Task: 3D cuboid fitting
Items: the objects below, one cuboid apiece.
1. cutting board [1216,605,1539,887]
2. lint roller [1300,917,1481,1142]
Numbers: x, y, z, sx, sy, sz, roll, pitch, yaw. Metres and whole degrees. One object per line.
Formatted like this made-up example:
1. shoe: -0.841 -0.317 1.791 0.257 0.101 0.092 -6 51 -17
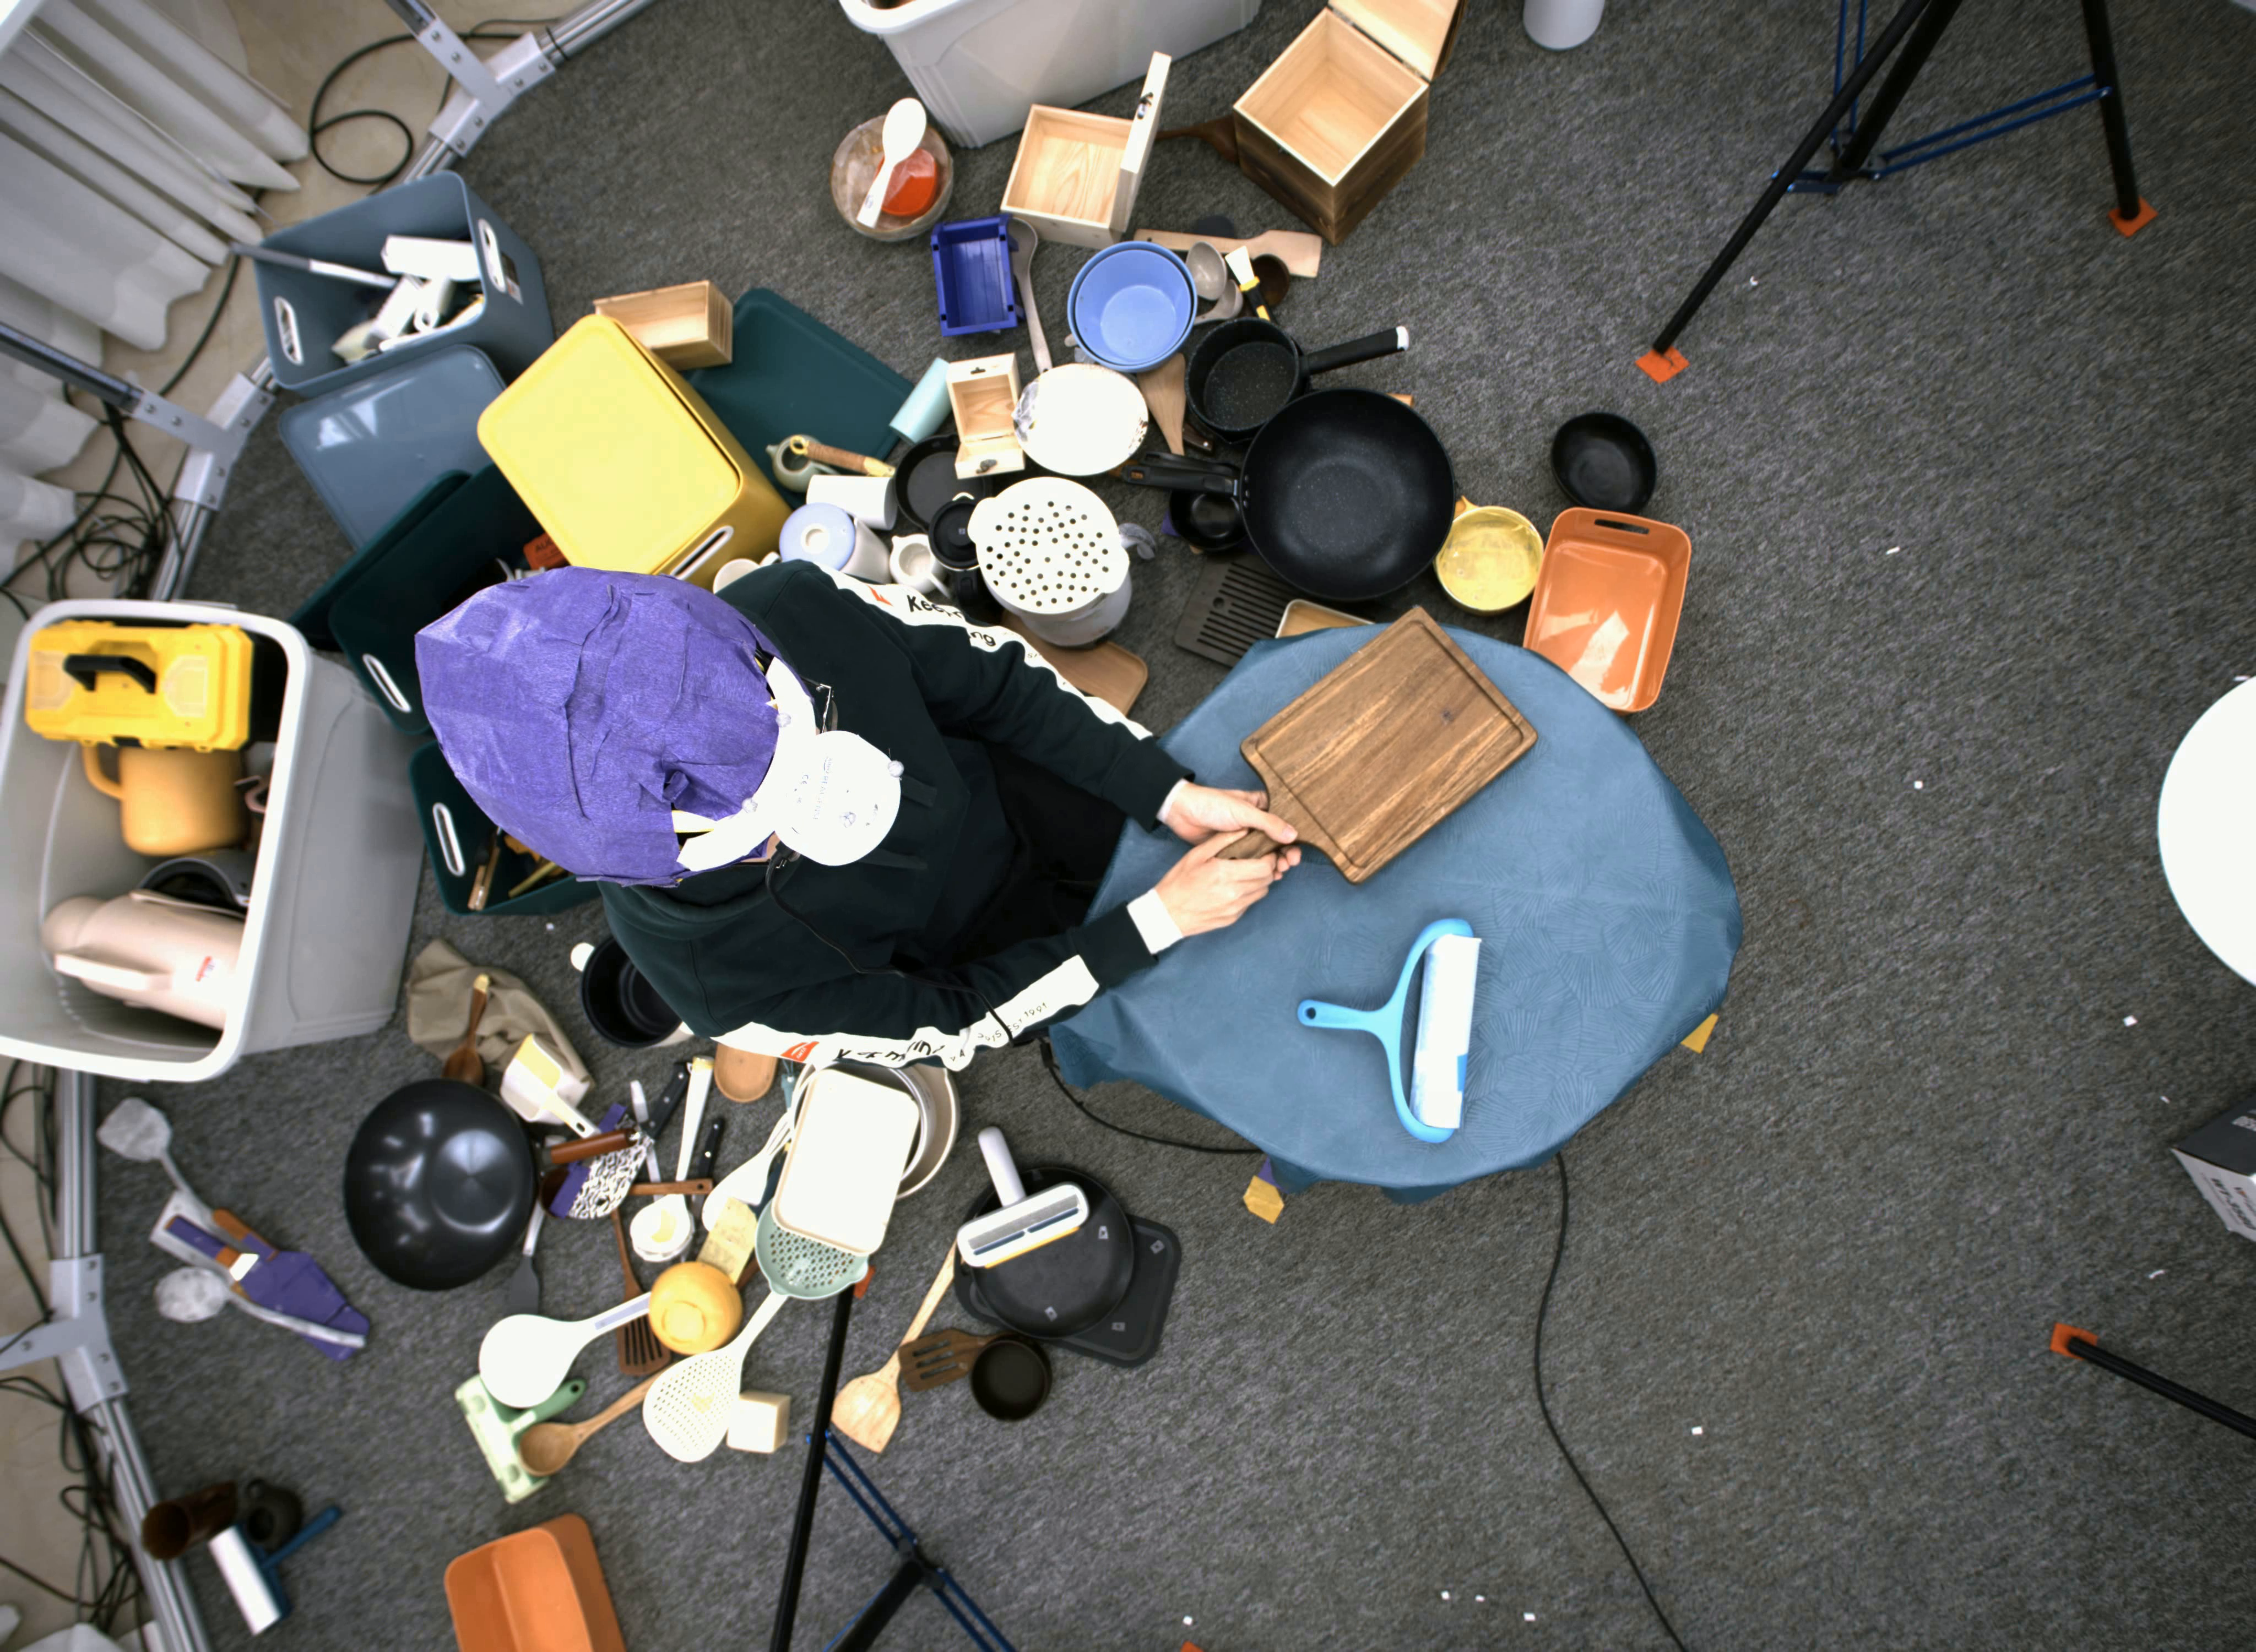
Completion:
1. cutting board: 0.231 -0.057 1.431 0.352 0.023 0.199 -39 76 0
2. lint roller: 0.266 0.203 1.420 0.181 0.068 0.228 3 89 9
